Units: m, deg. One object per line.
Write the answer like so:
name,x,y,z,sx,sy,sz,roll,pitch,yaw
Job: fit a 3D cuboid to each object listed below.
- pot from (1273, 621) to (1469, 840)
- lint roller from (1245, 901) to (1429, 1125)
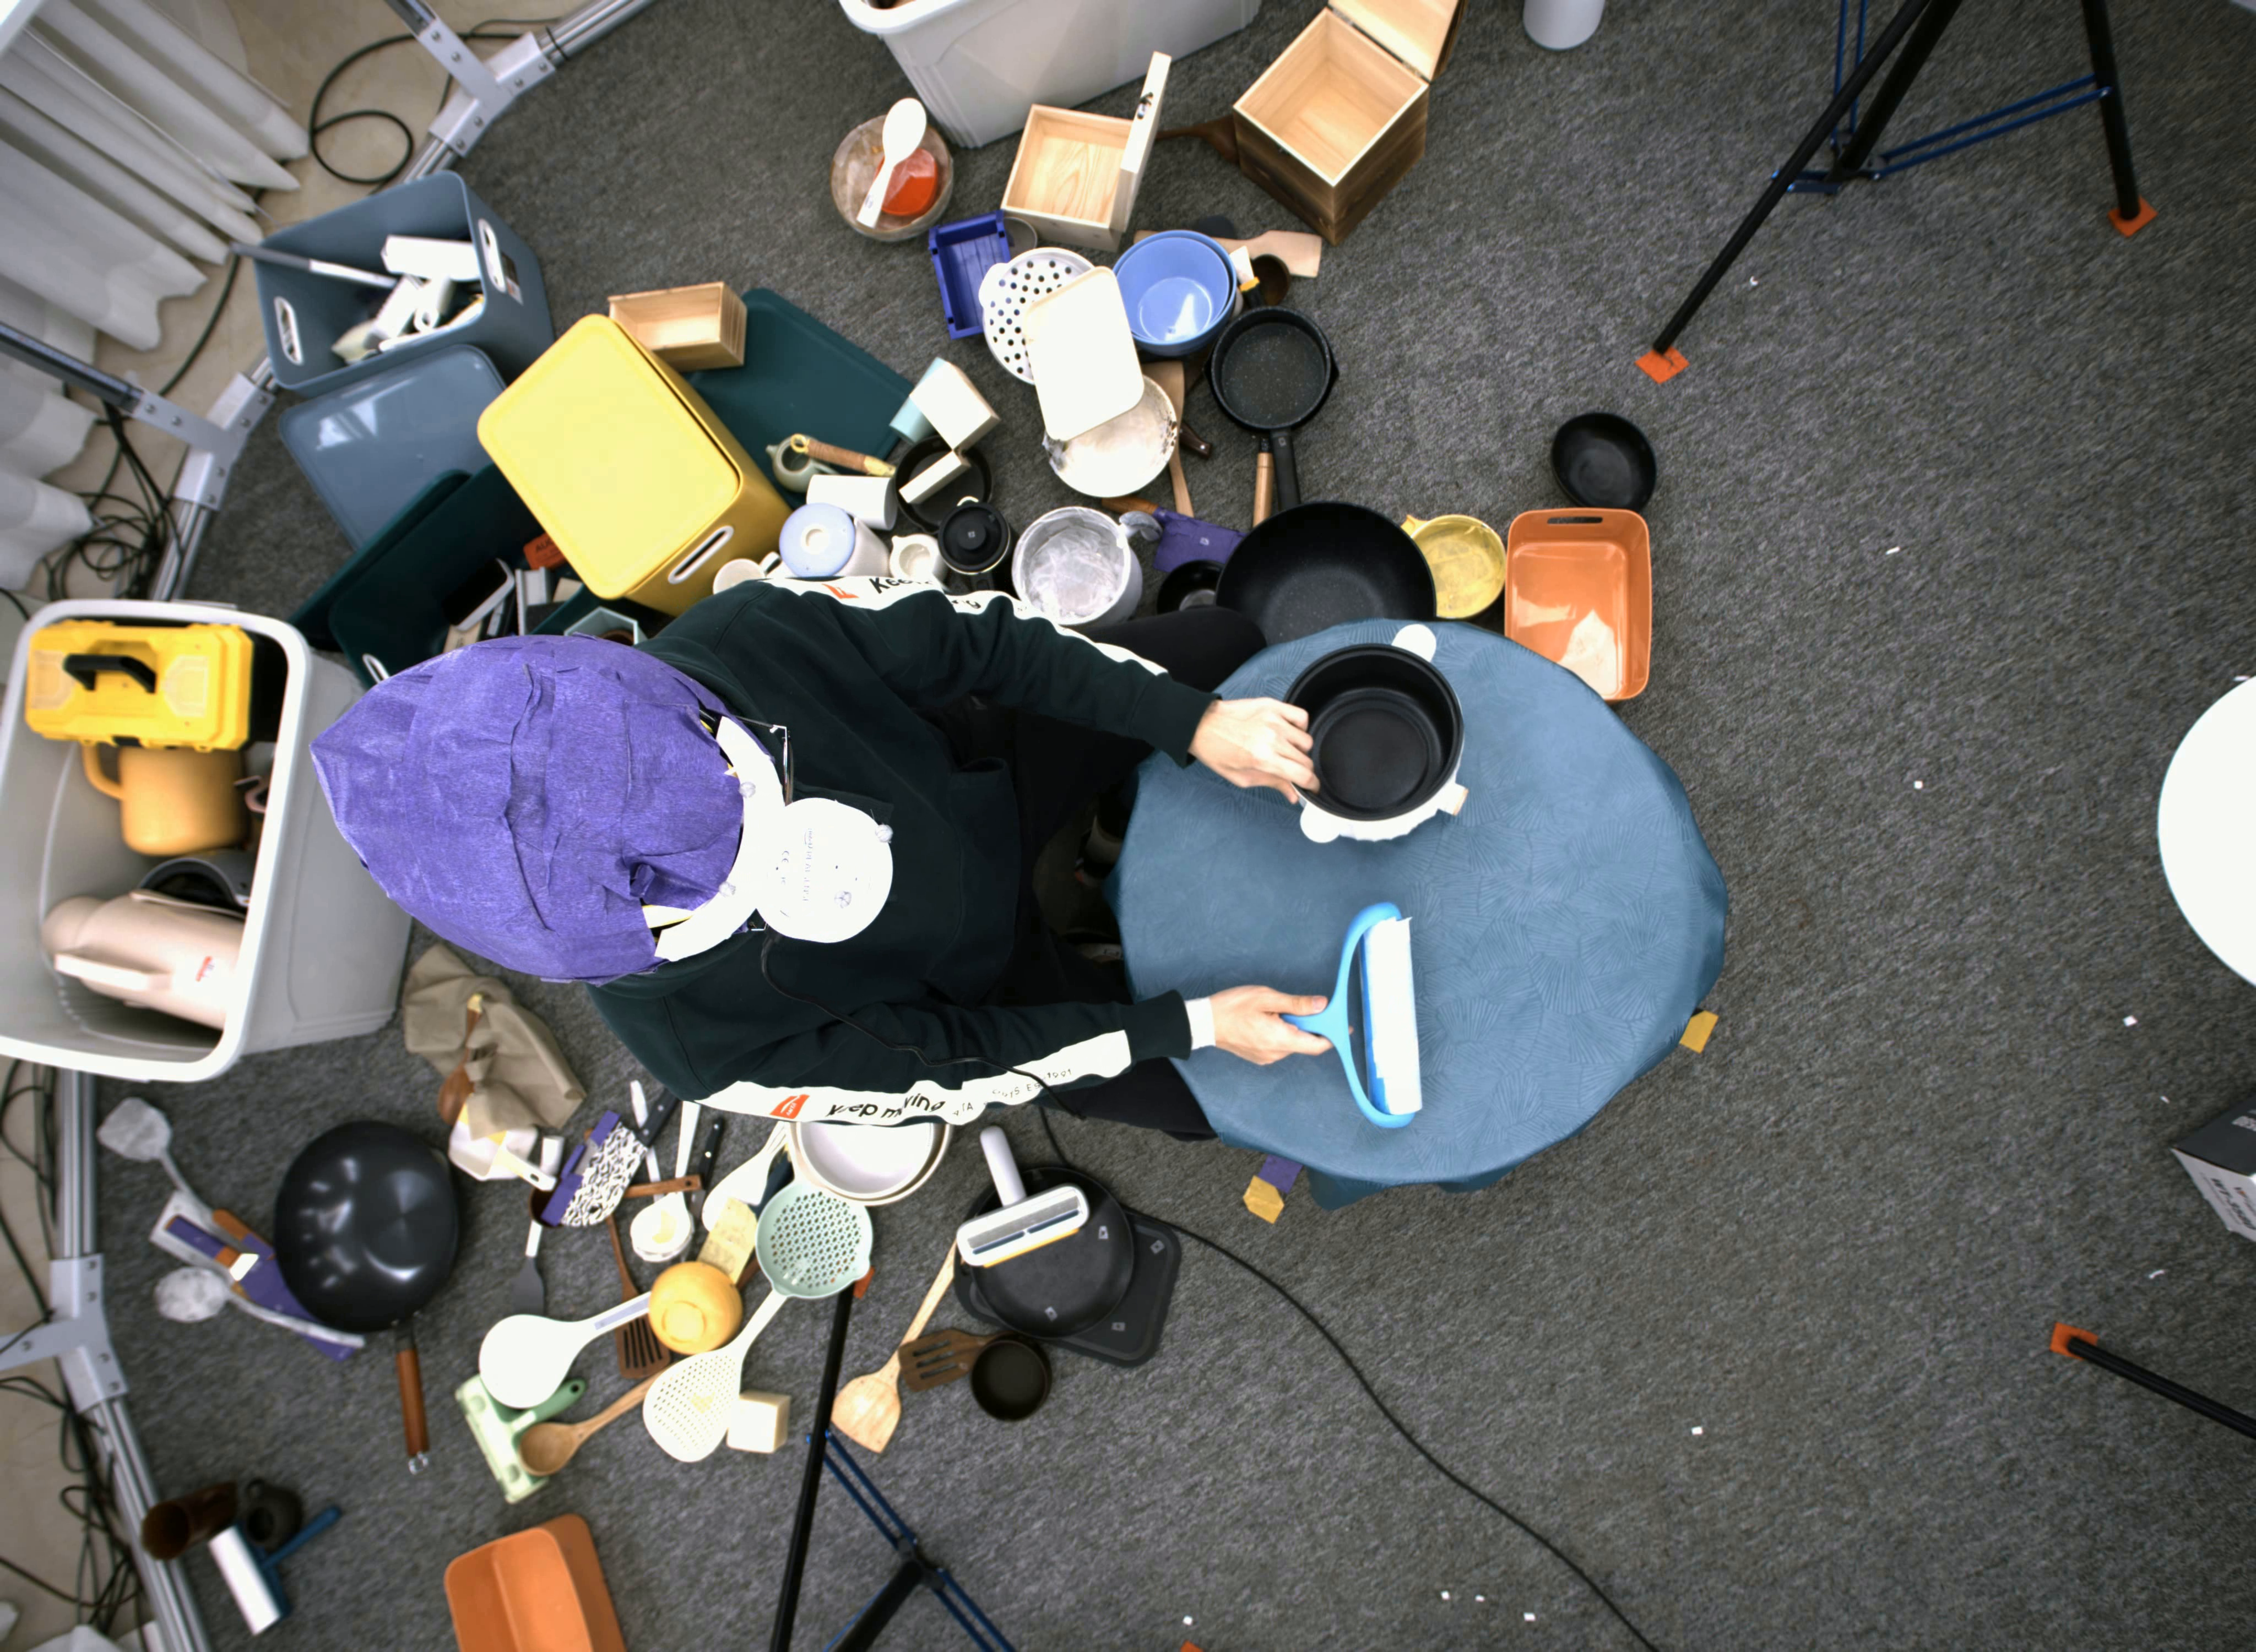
pot,0.250,-0.078,1.387,0.190,0.143,0.239,26,86,20
lint roller,0.210,0.198,1.411,0.181,0.067,0.229,-8,94,5
